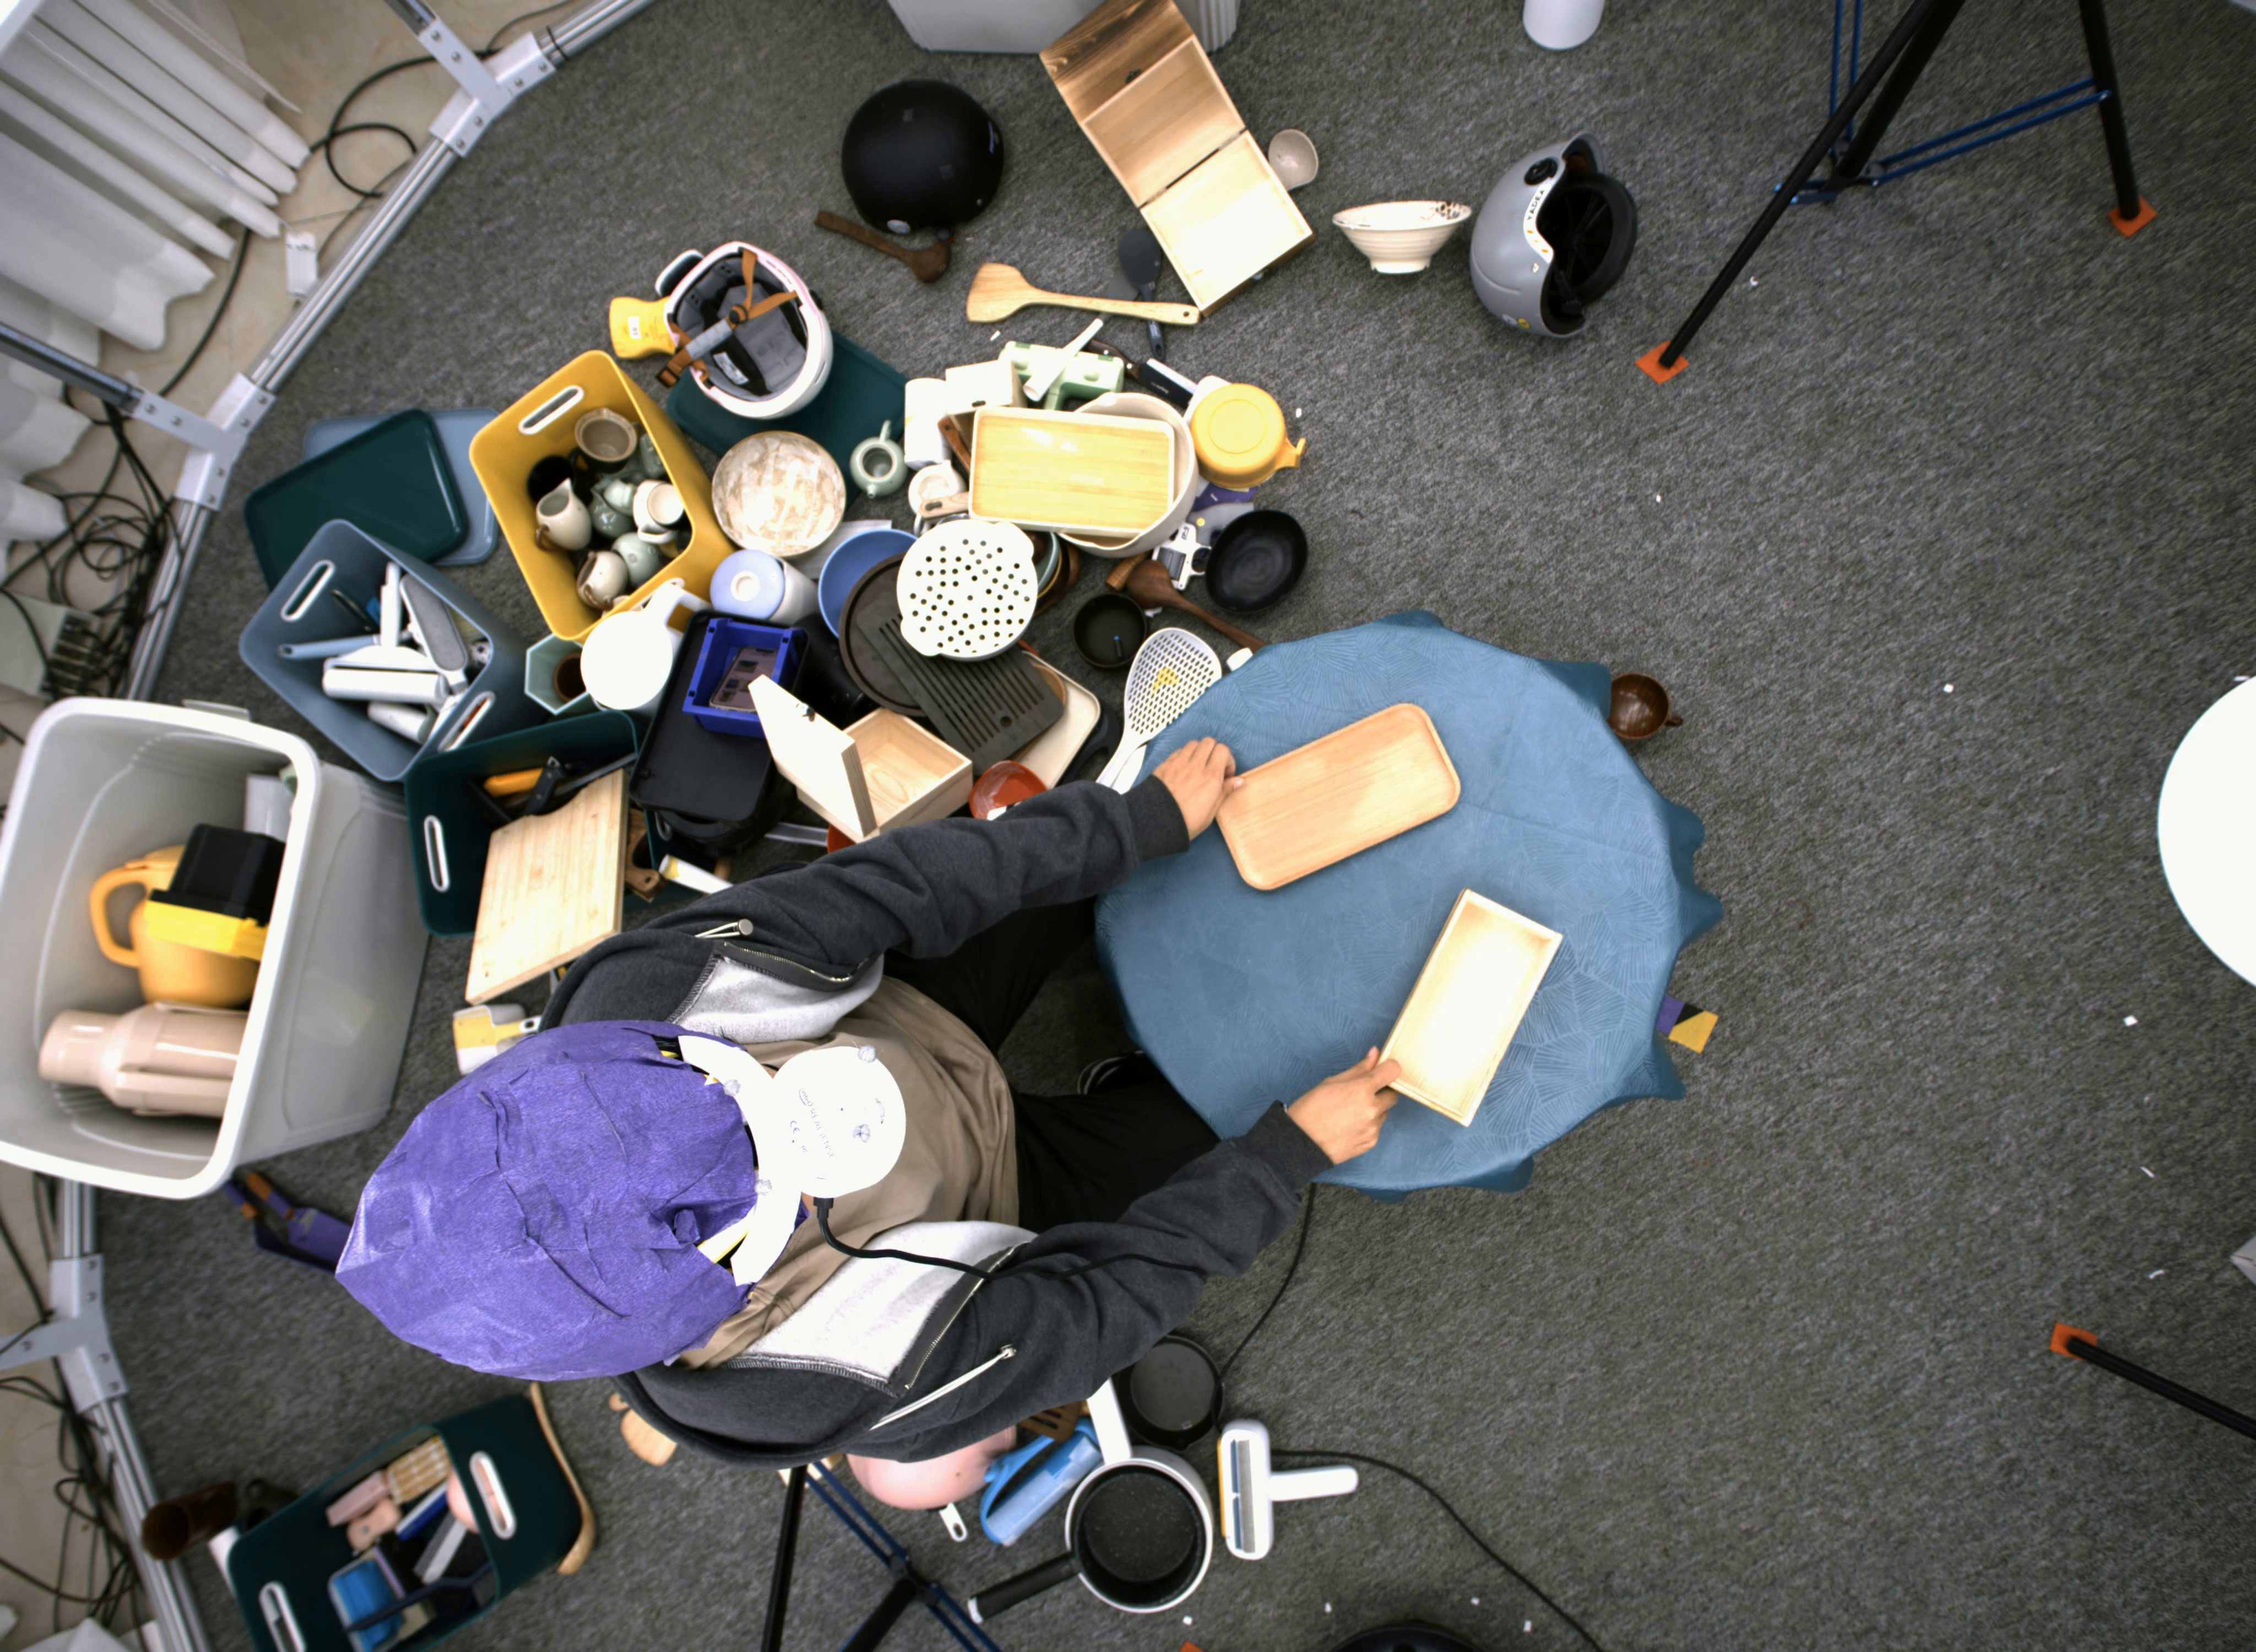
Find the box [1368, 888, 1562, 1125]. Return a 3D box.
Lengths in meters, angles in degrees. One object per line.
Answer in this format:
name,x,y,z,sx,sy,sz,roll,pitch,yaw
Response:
box,0.340,0.180,1.400,0.107,0.080,0.211,27,92,11

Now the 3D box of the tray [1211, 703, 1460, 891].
tray,0.219,-0.031,1.463,0.252,0.023,0.129,-24,80,8
